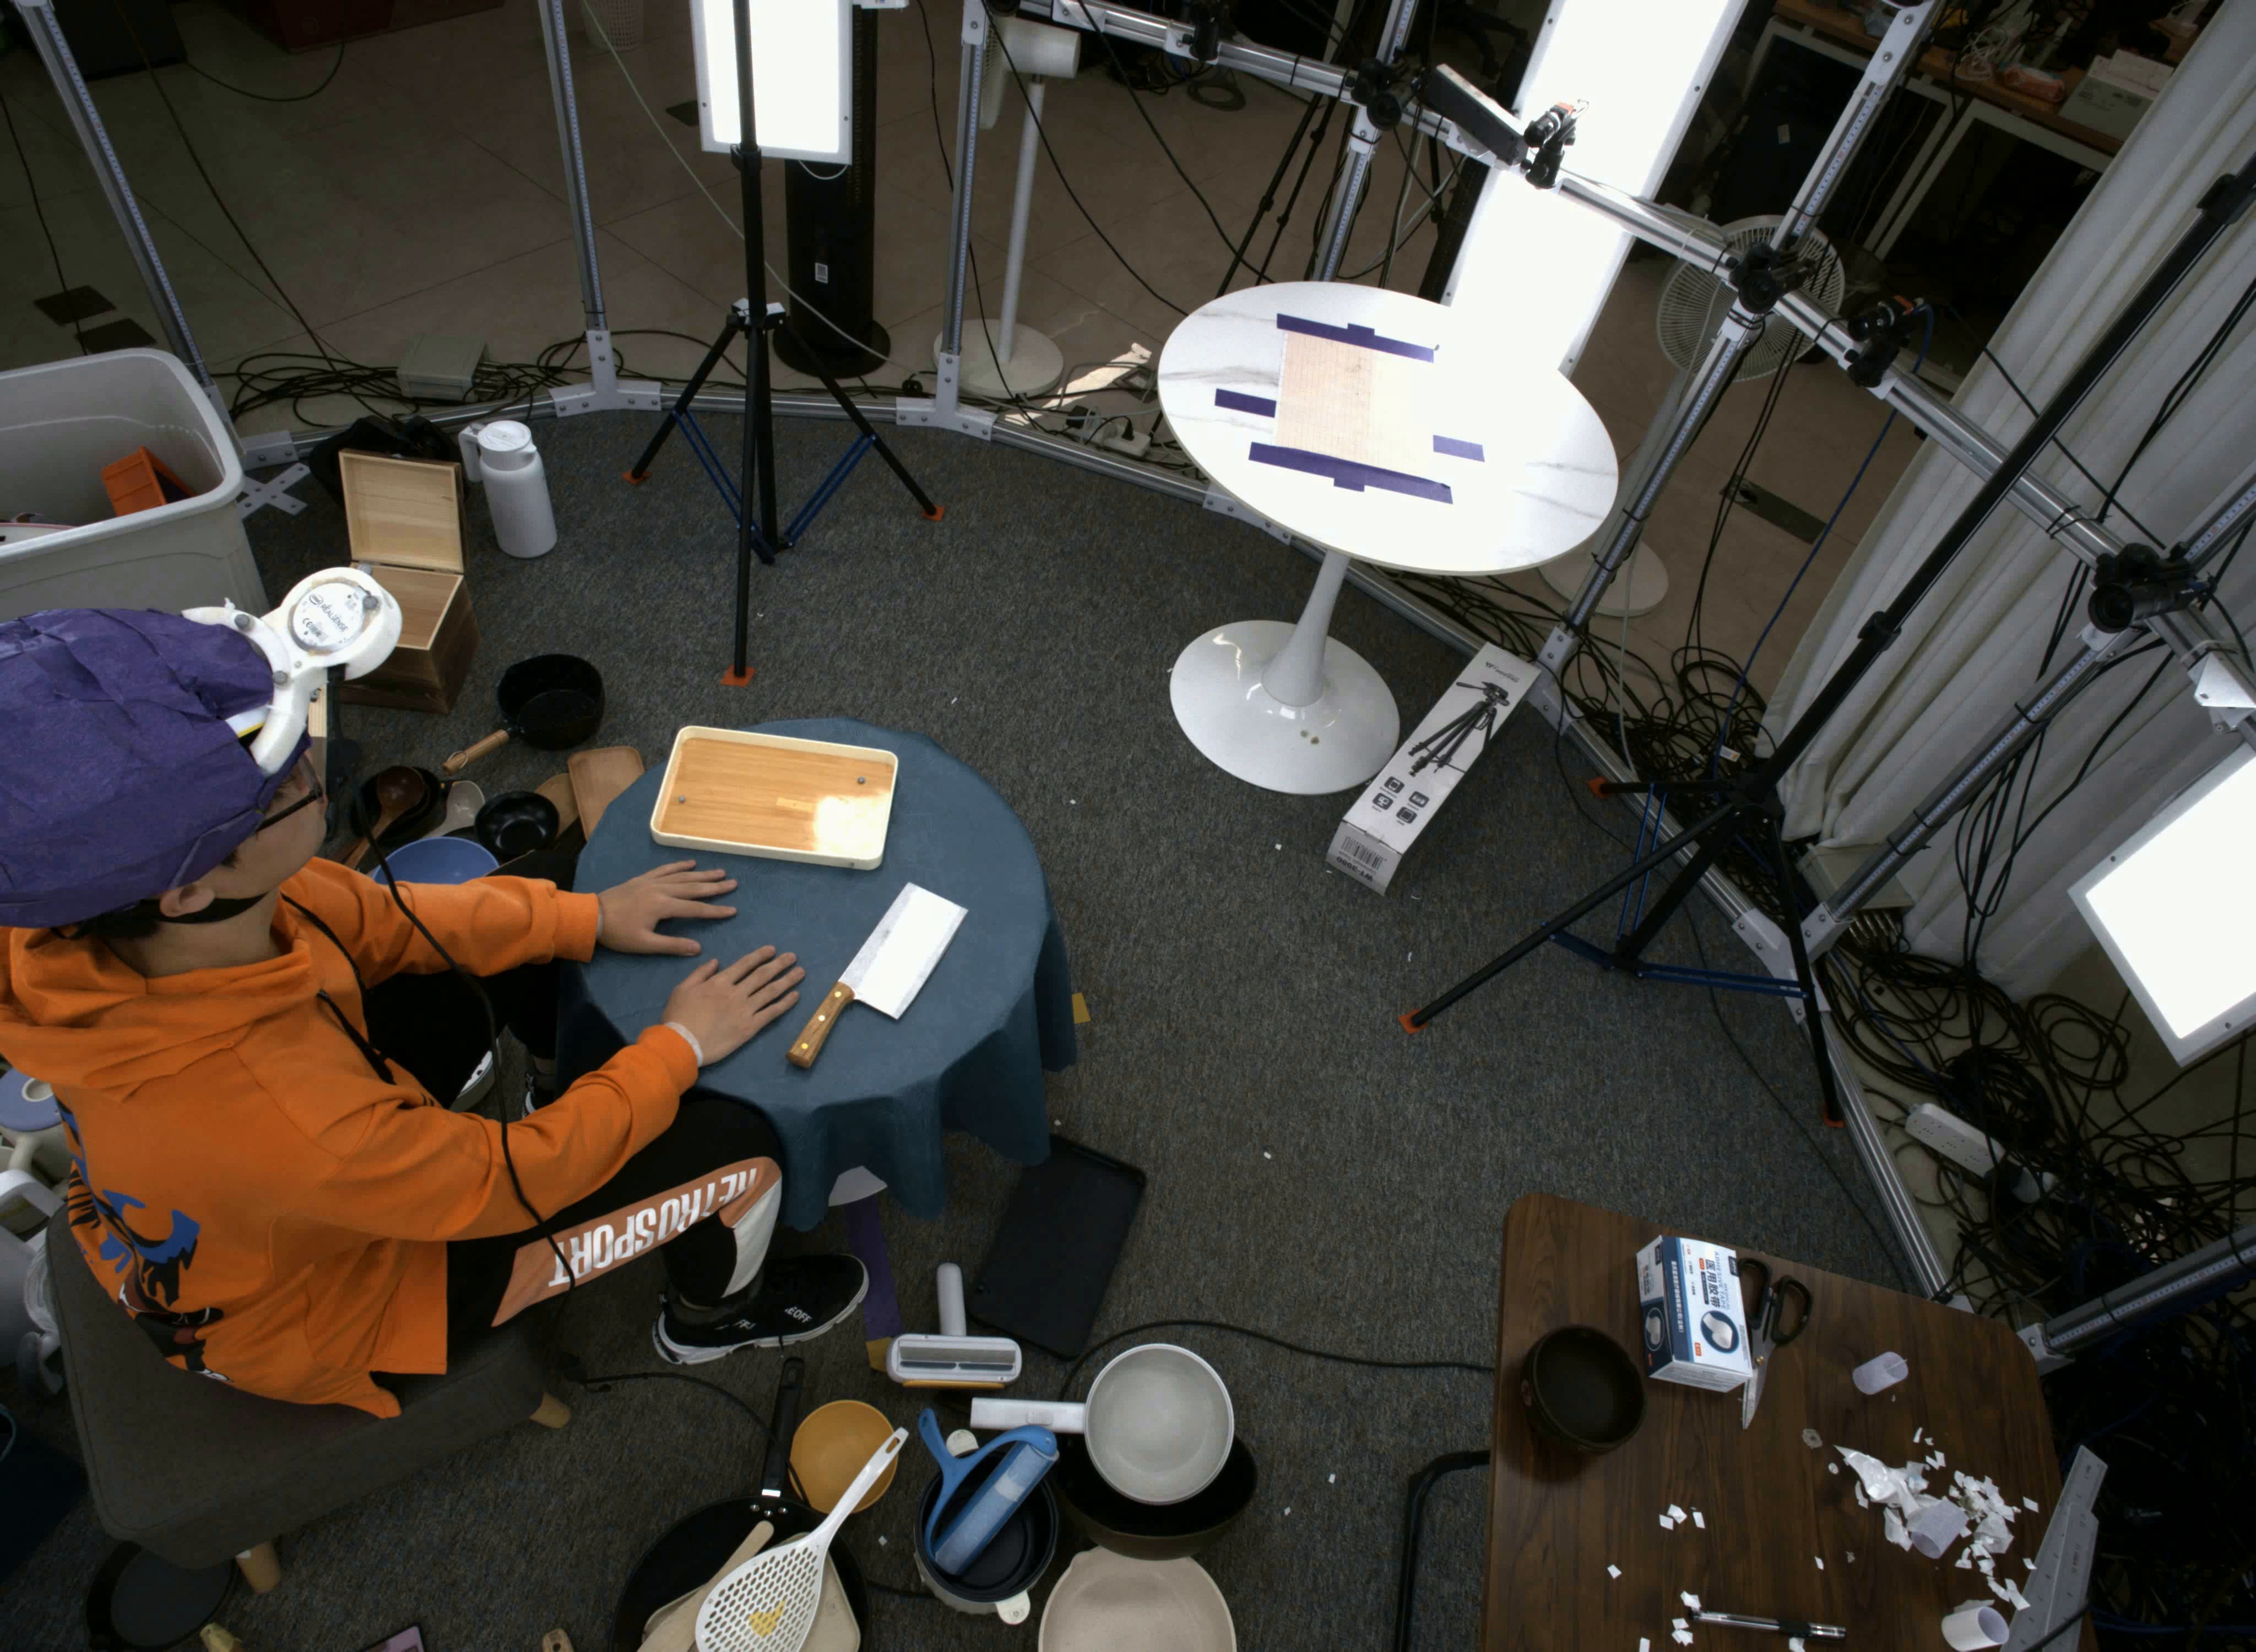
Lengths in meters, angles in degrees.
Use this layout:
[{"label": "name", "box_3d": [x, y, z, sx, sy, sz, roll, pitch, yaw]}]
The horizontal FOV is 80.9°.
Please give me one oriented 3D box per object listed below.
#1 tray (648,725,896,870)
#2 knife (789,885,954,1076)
[{"label": "tray", "box_3d": [-0.466, -0.040, 1.715, 0.300, 0.028, 0.188, 8, 52, -10]}, {"label": "knife", "box_3d": [-0.304, 0.189, 1.594, 0.092, 0.021, 0.303, 26, 49, 4]}]
